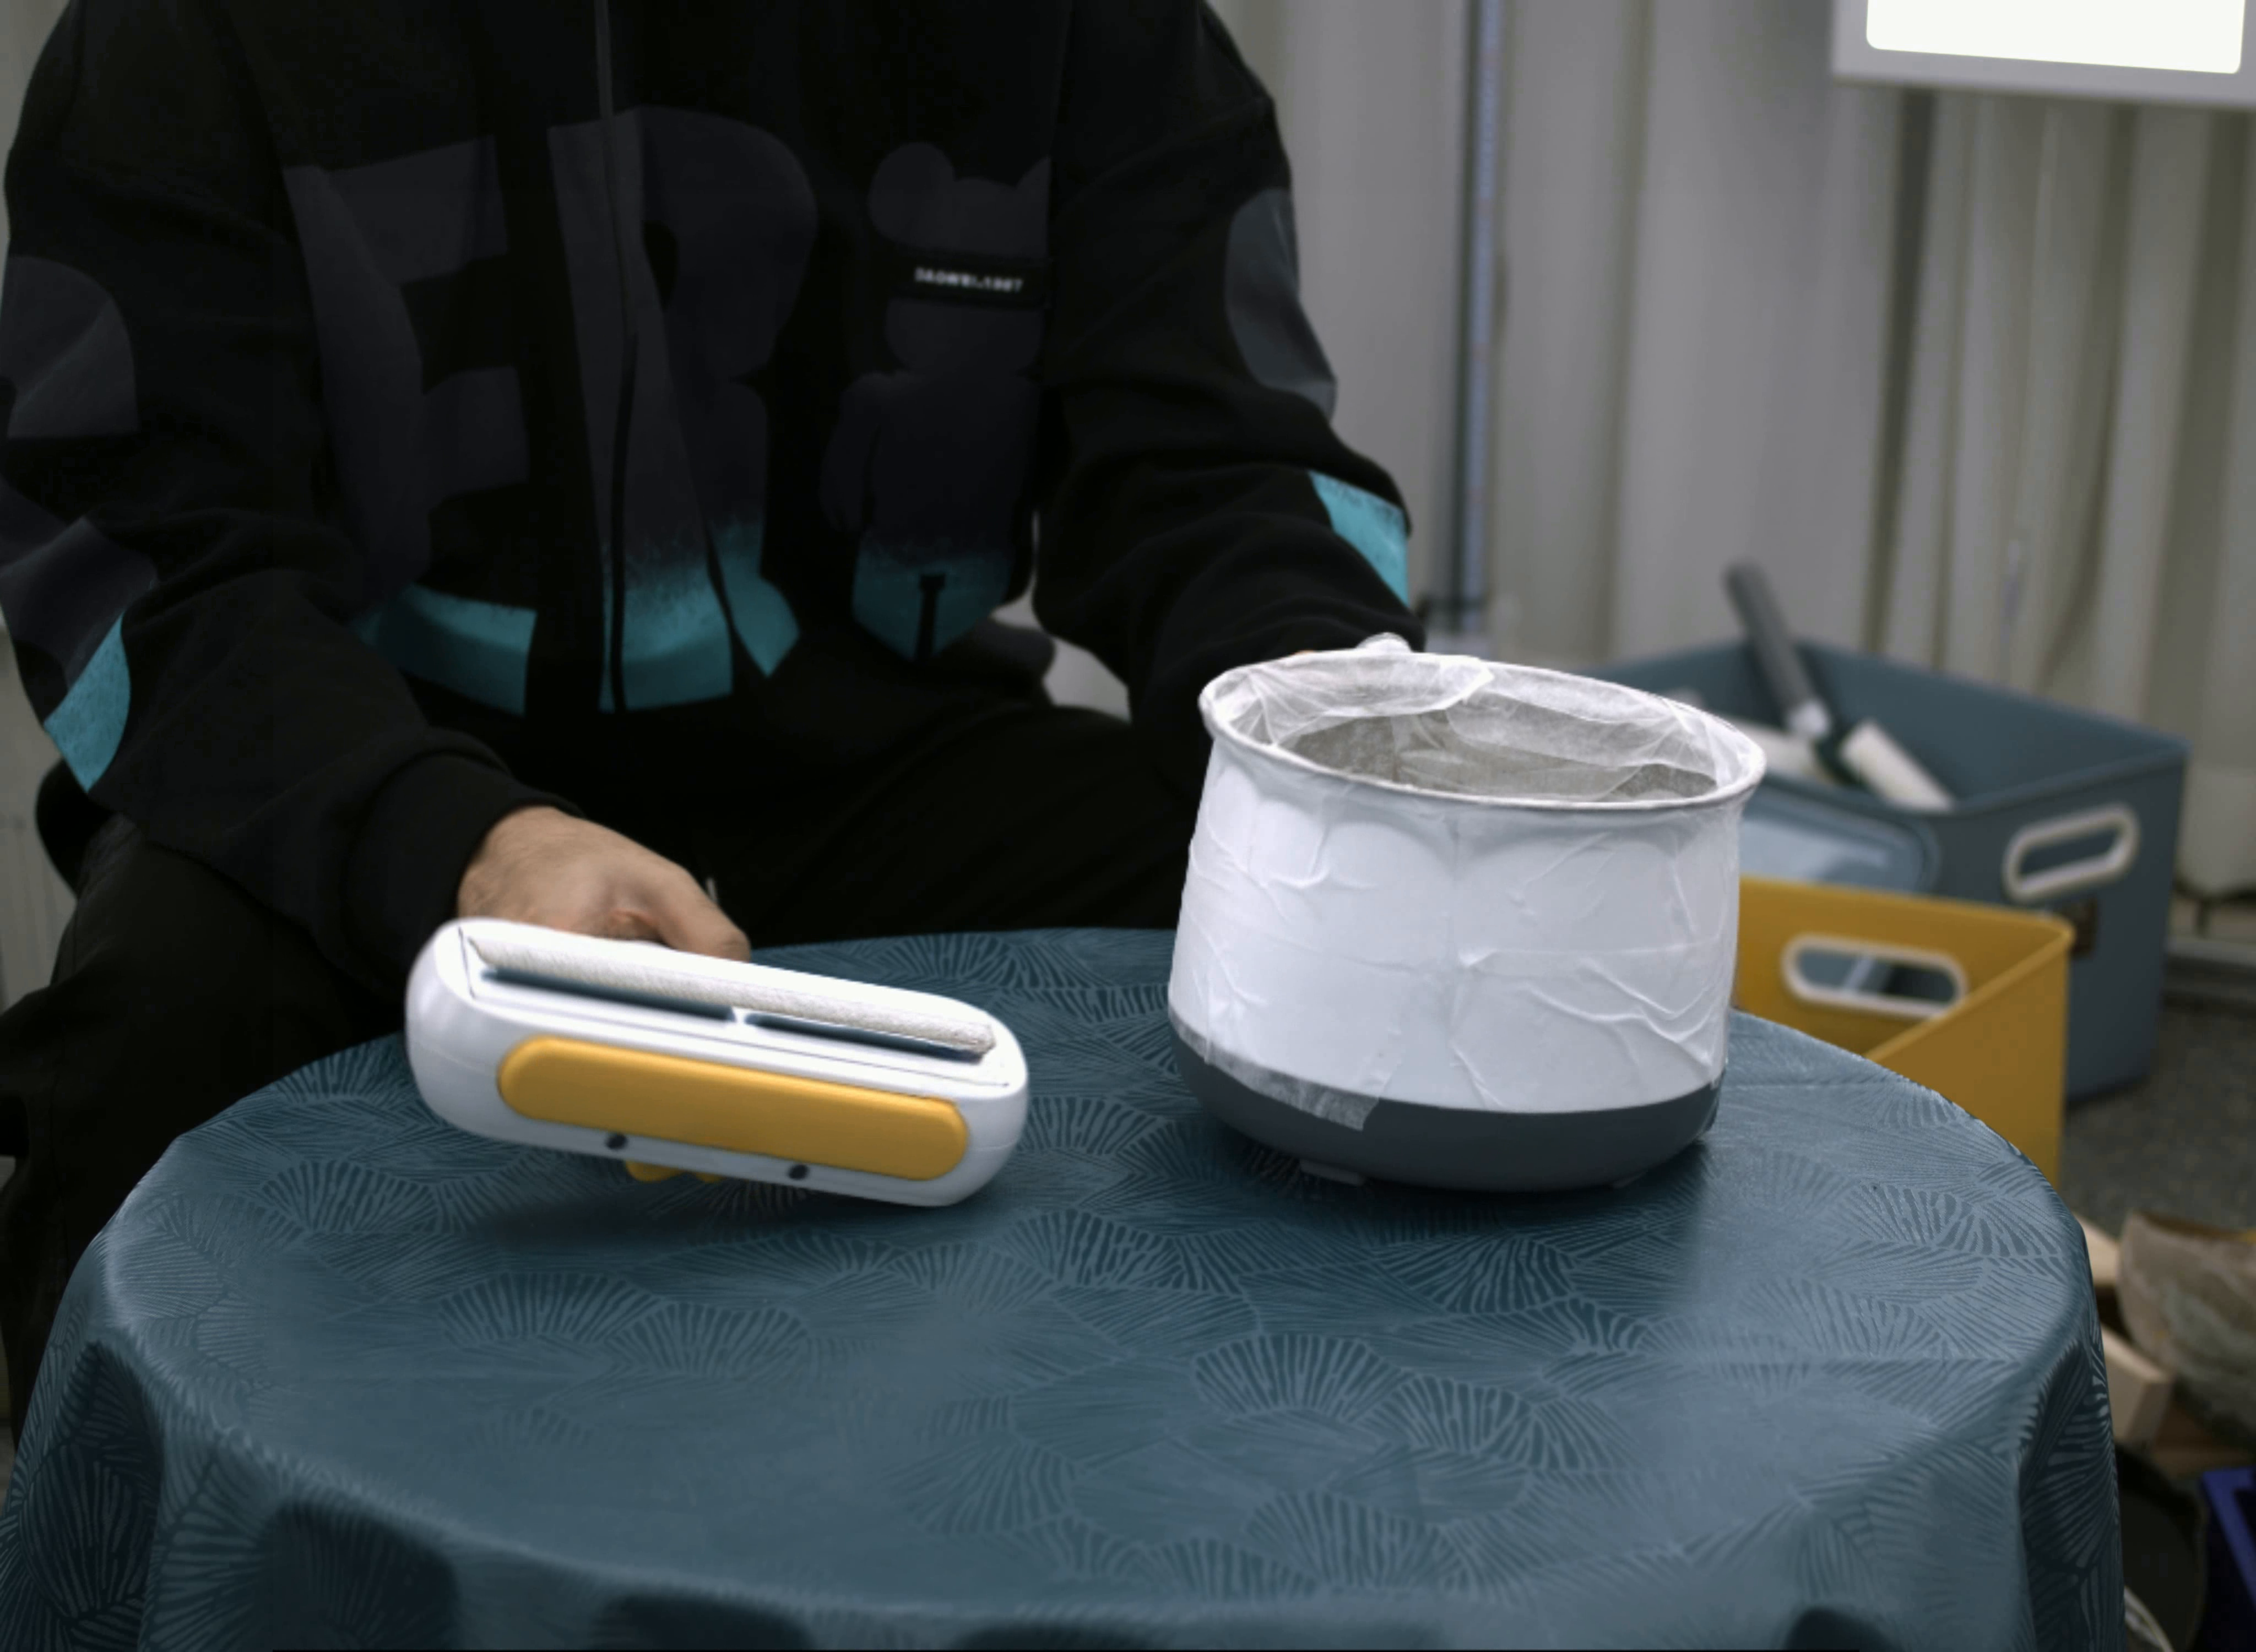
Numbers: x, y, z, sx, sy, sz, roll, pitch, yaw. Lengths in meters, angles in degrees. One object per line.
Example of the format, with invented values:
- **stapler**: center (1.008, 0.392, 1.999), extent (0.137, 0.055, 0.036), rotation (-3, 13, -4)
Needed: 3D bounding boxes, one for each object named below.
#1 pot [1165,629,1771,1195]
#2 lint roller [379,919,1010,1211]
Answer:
- **pot**: center (0.096, 0.022, 1.667), extent (0.179, 0.137, 0.231), rotation (2, 16, -17)
- **lint roller**: center (-0.142, 0.059, 1.643), extent (0.193, 0.075, 0.190), rotation (6, 19, -14)
